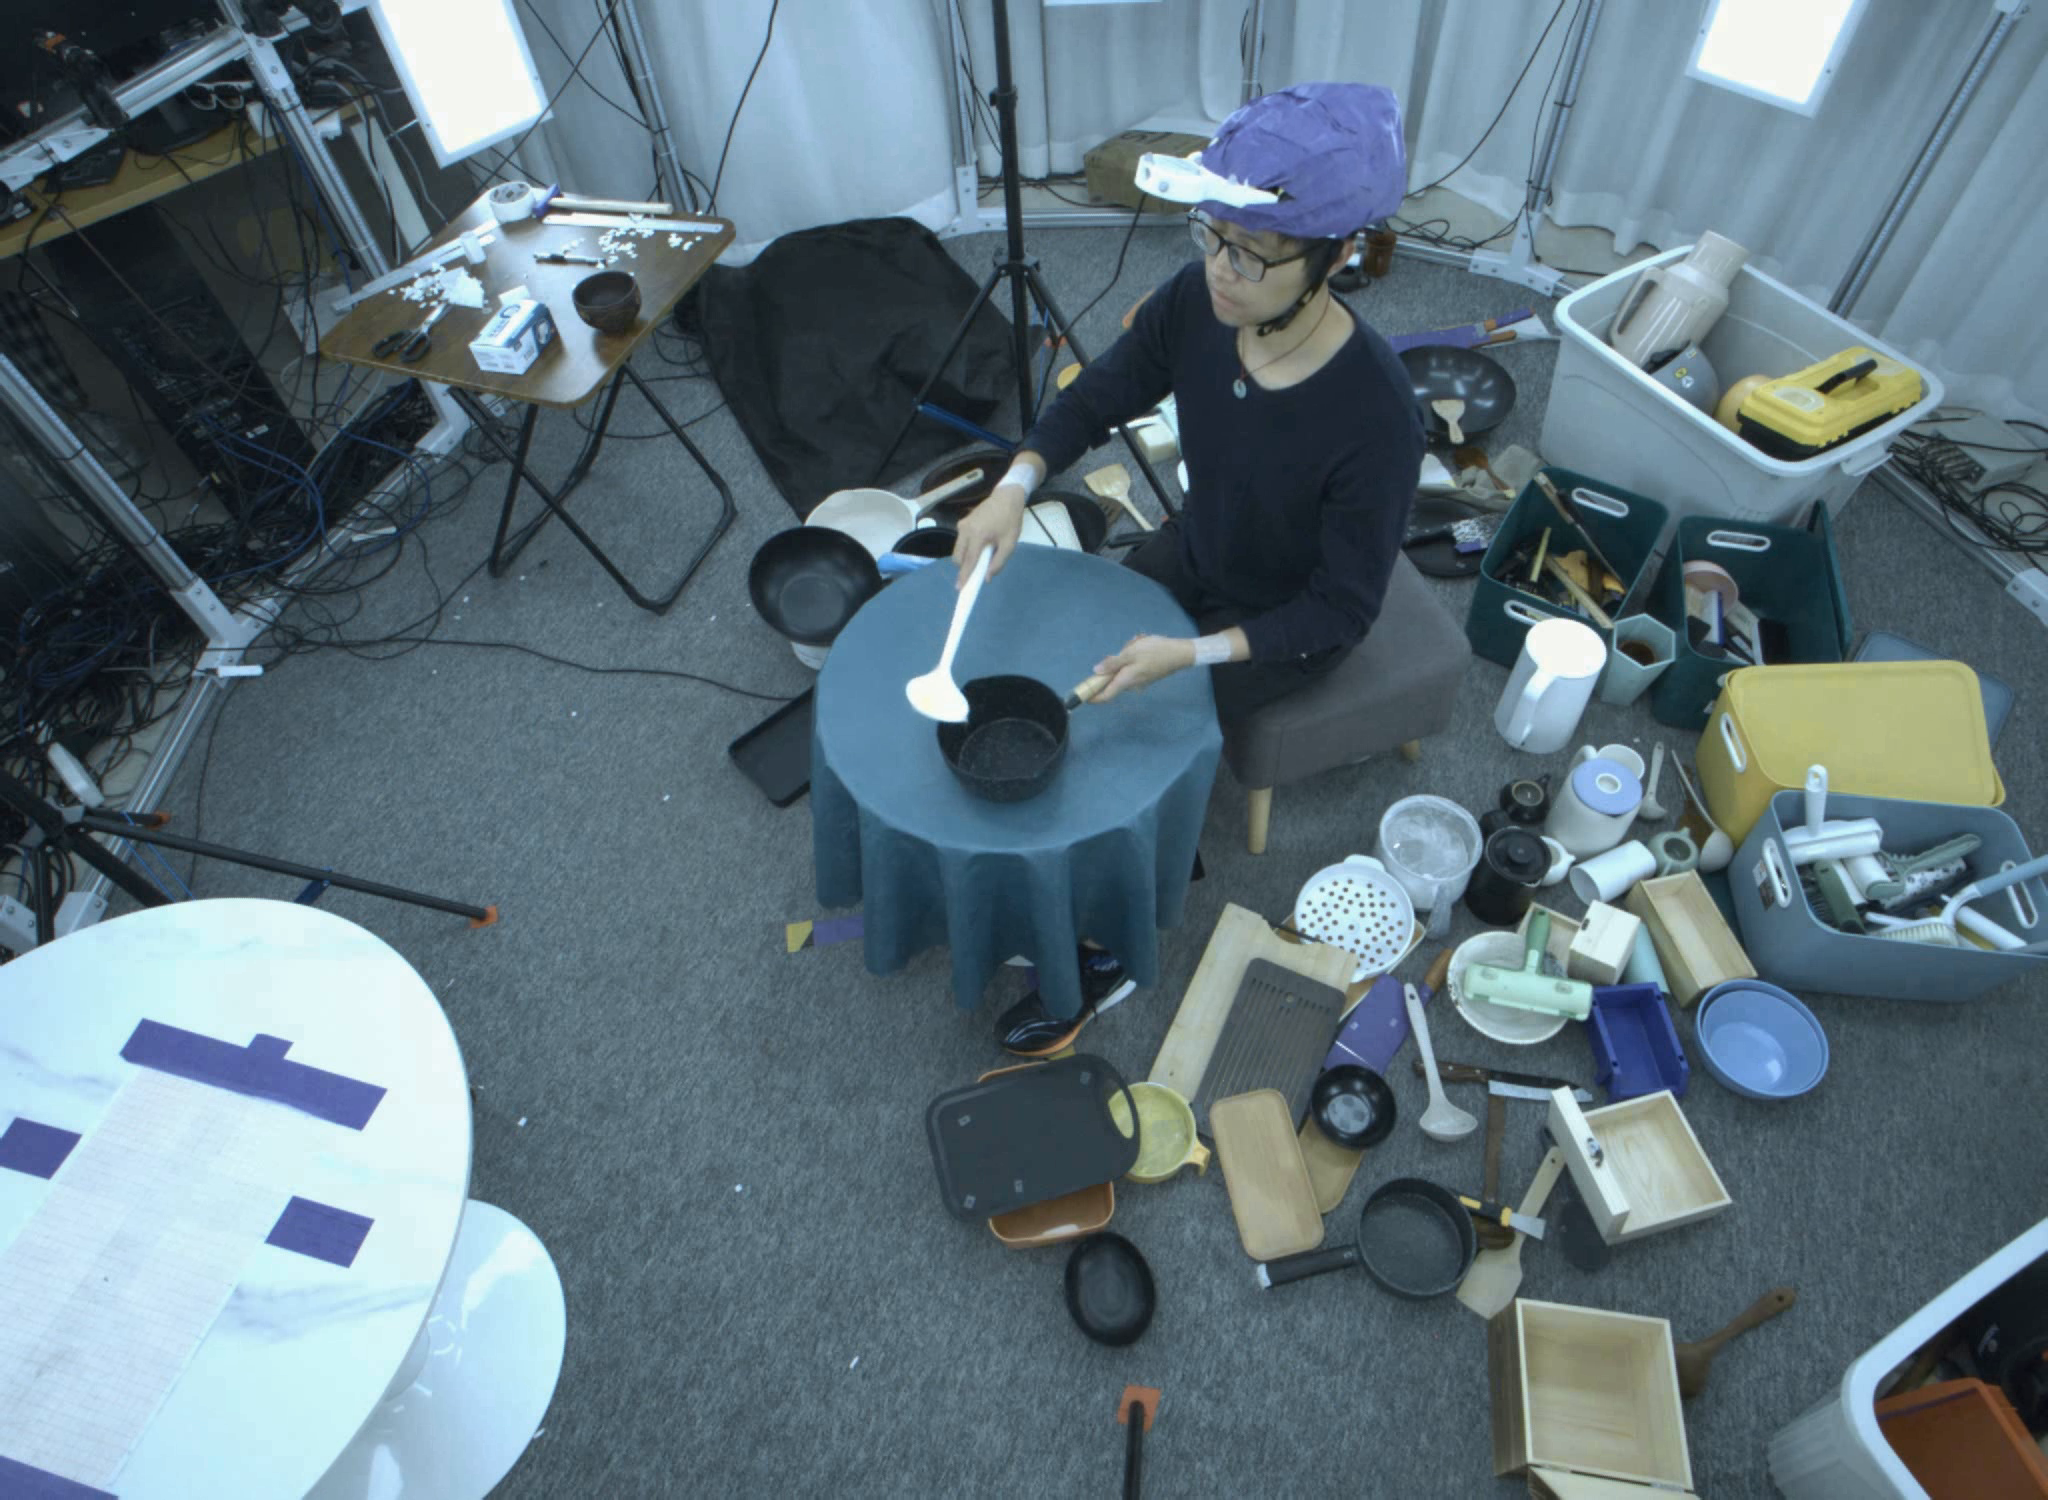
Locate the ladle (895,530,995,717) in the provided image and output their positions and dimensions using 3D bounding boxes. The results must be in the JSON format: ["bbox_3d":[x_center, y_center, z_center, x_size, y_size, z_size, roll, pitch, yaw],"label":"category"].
[{"bbox_3d":[-0.098,-0.178,1.698,0.091,0.069,0.292,20,76,-7],"label":"ladle"}]

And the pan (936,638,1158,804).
[{"bbox_3d":[0.041,-0.052,1.749,0.345,0.109,0.203,-28,56,-12],"label":"pan"}]
